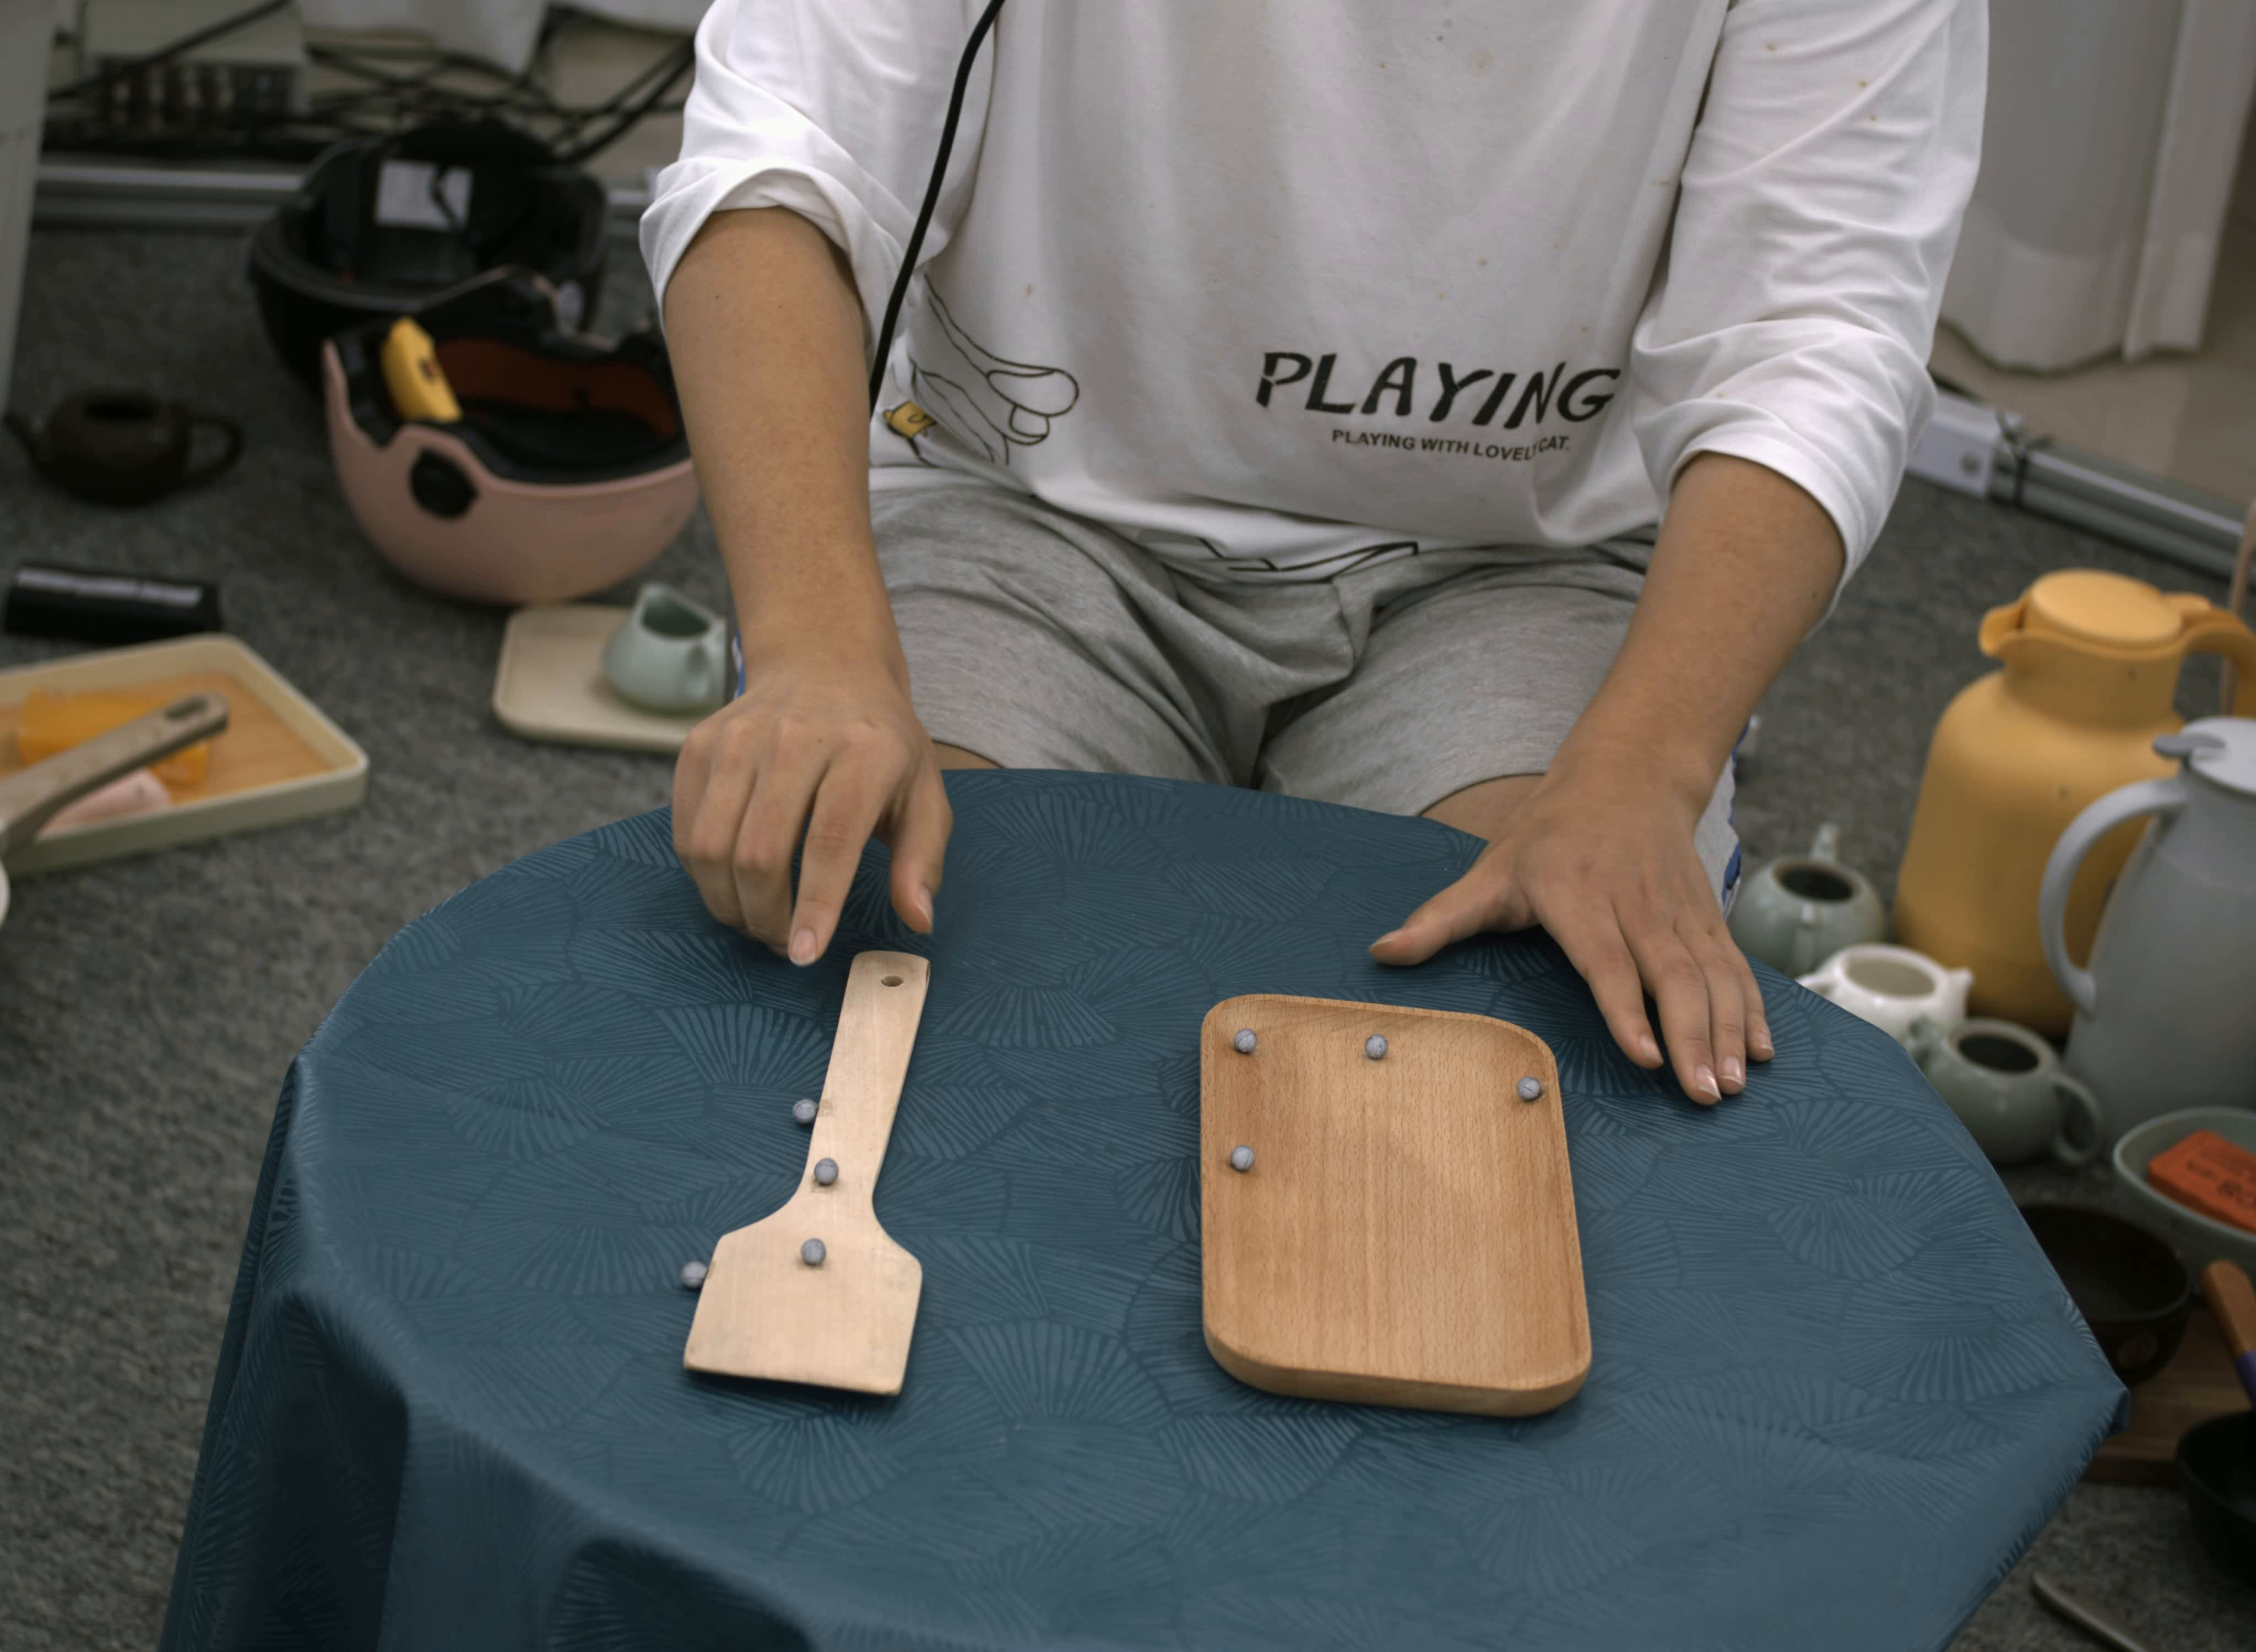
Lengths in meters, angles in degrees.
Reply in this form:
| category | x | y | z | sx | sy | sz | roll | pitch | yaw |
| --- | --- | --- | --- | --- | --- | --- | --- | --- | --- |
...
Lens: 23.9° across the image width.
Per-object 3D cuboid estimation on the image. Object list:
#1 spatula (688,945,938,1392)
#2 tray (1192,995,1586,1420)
| category | x | y | z | sx | sy | sz | roll | pitch | yaw |
| --- | --- | --- | --- | --- | --- | --- | --- | --- | --- |
| spatula | -0.095 | 0.110 | 1.799 | 0.072 | 0.010 | 0.294 | 6 | 27 | 2 |
| tray | 0.086 | 0.126 | 1.804 | 0.130 | 0.023 | 0.252 | 4 | 27 | 0 |
